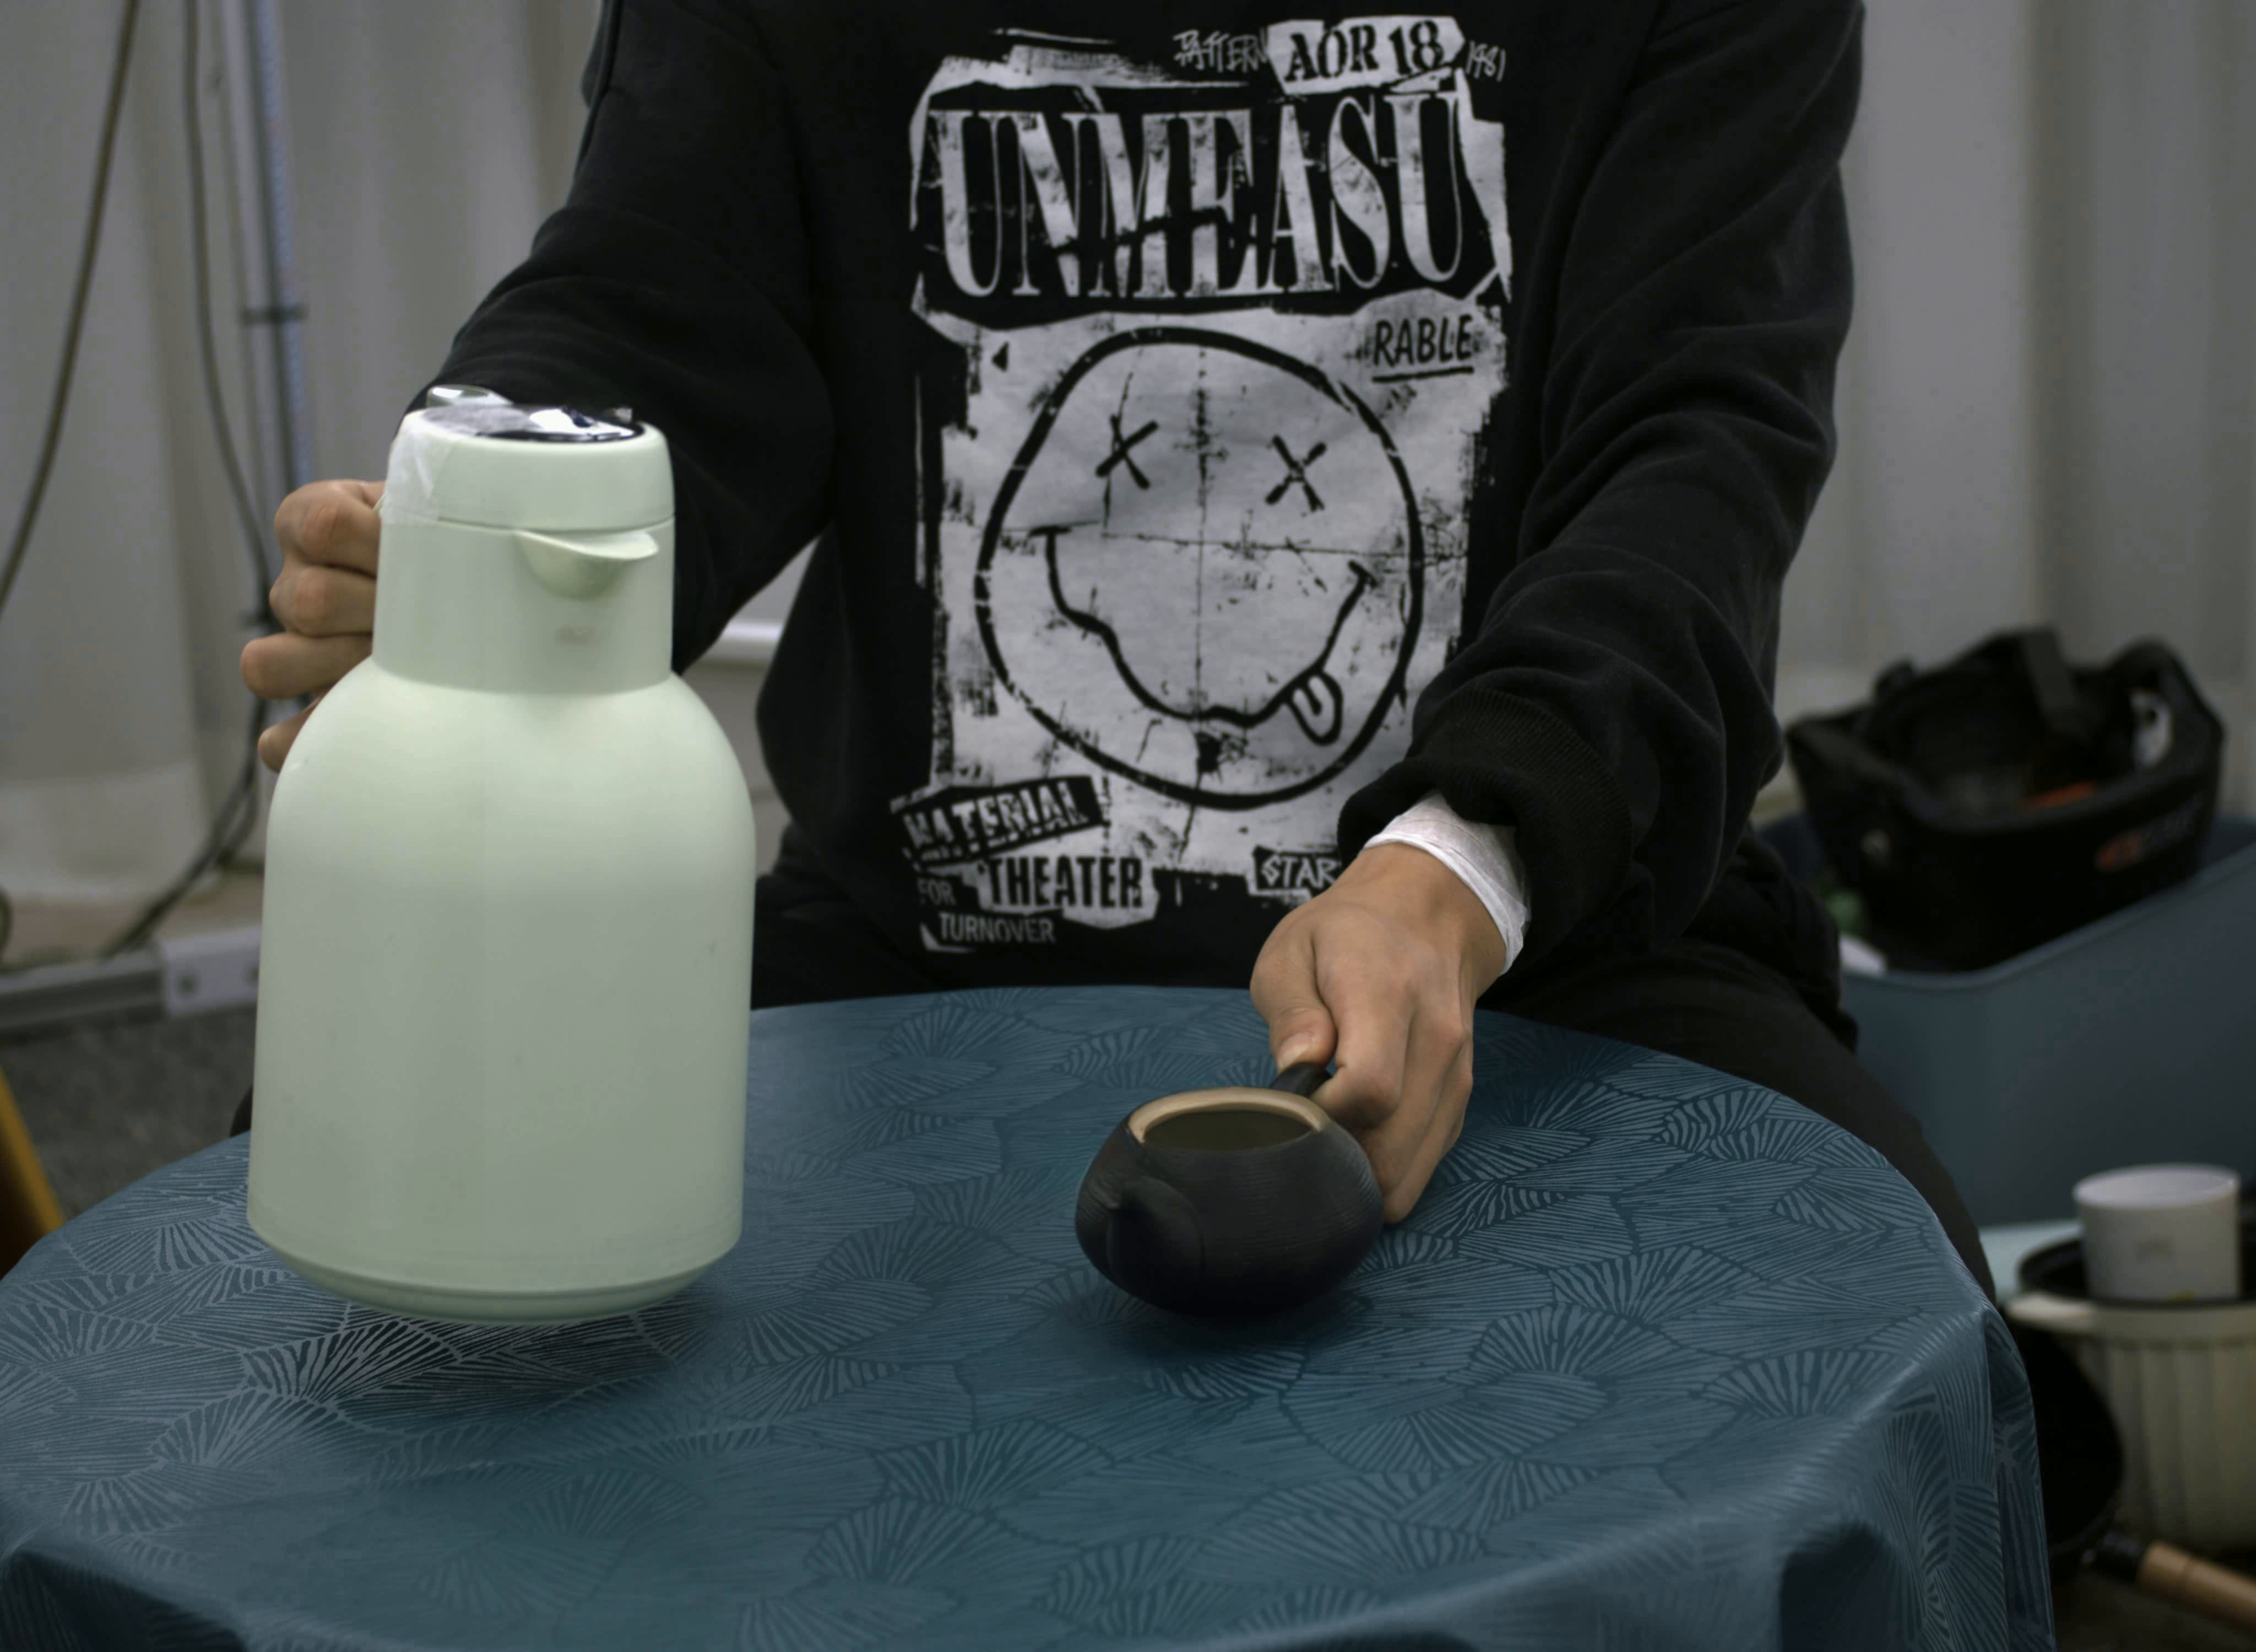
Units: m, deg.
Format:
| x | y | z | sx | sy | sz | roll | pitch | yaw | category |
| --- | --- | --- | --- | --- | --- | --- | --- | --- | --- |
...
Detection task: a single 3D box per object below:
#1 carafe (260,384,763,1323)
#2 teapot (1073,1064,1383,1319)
| x | y | z | sx | sy | sz | roll | pitch | yaw | category |
| --- | --- | --- | --- | --- | --- | --- | --- | --- | --- |
| -0.183 | 0.003 | 1.597 | 0.143 | 0.256 | 0.188 | -3 | 10 | -29 | carafe |
| 0.030 | 0.110 | 1.599 | 0.091 | 0.053 | 0.133 | 8 | 20 | 29 | teapot |
